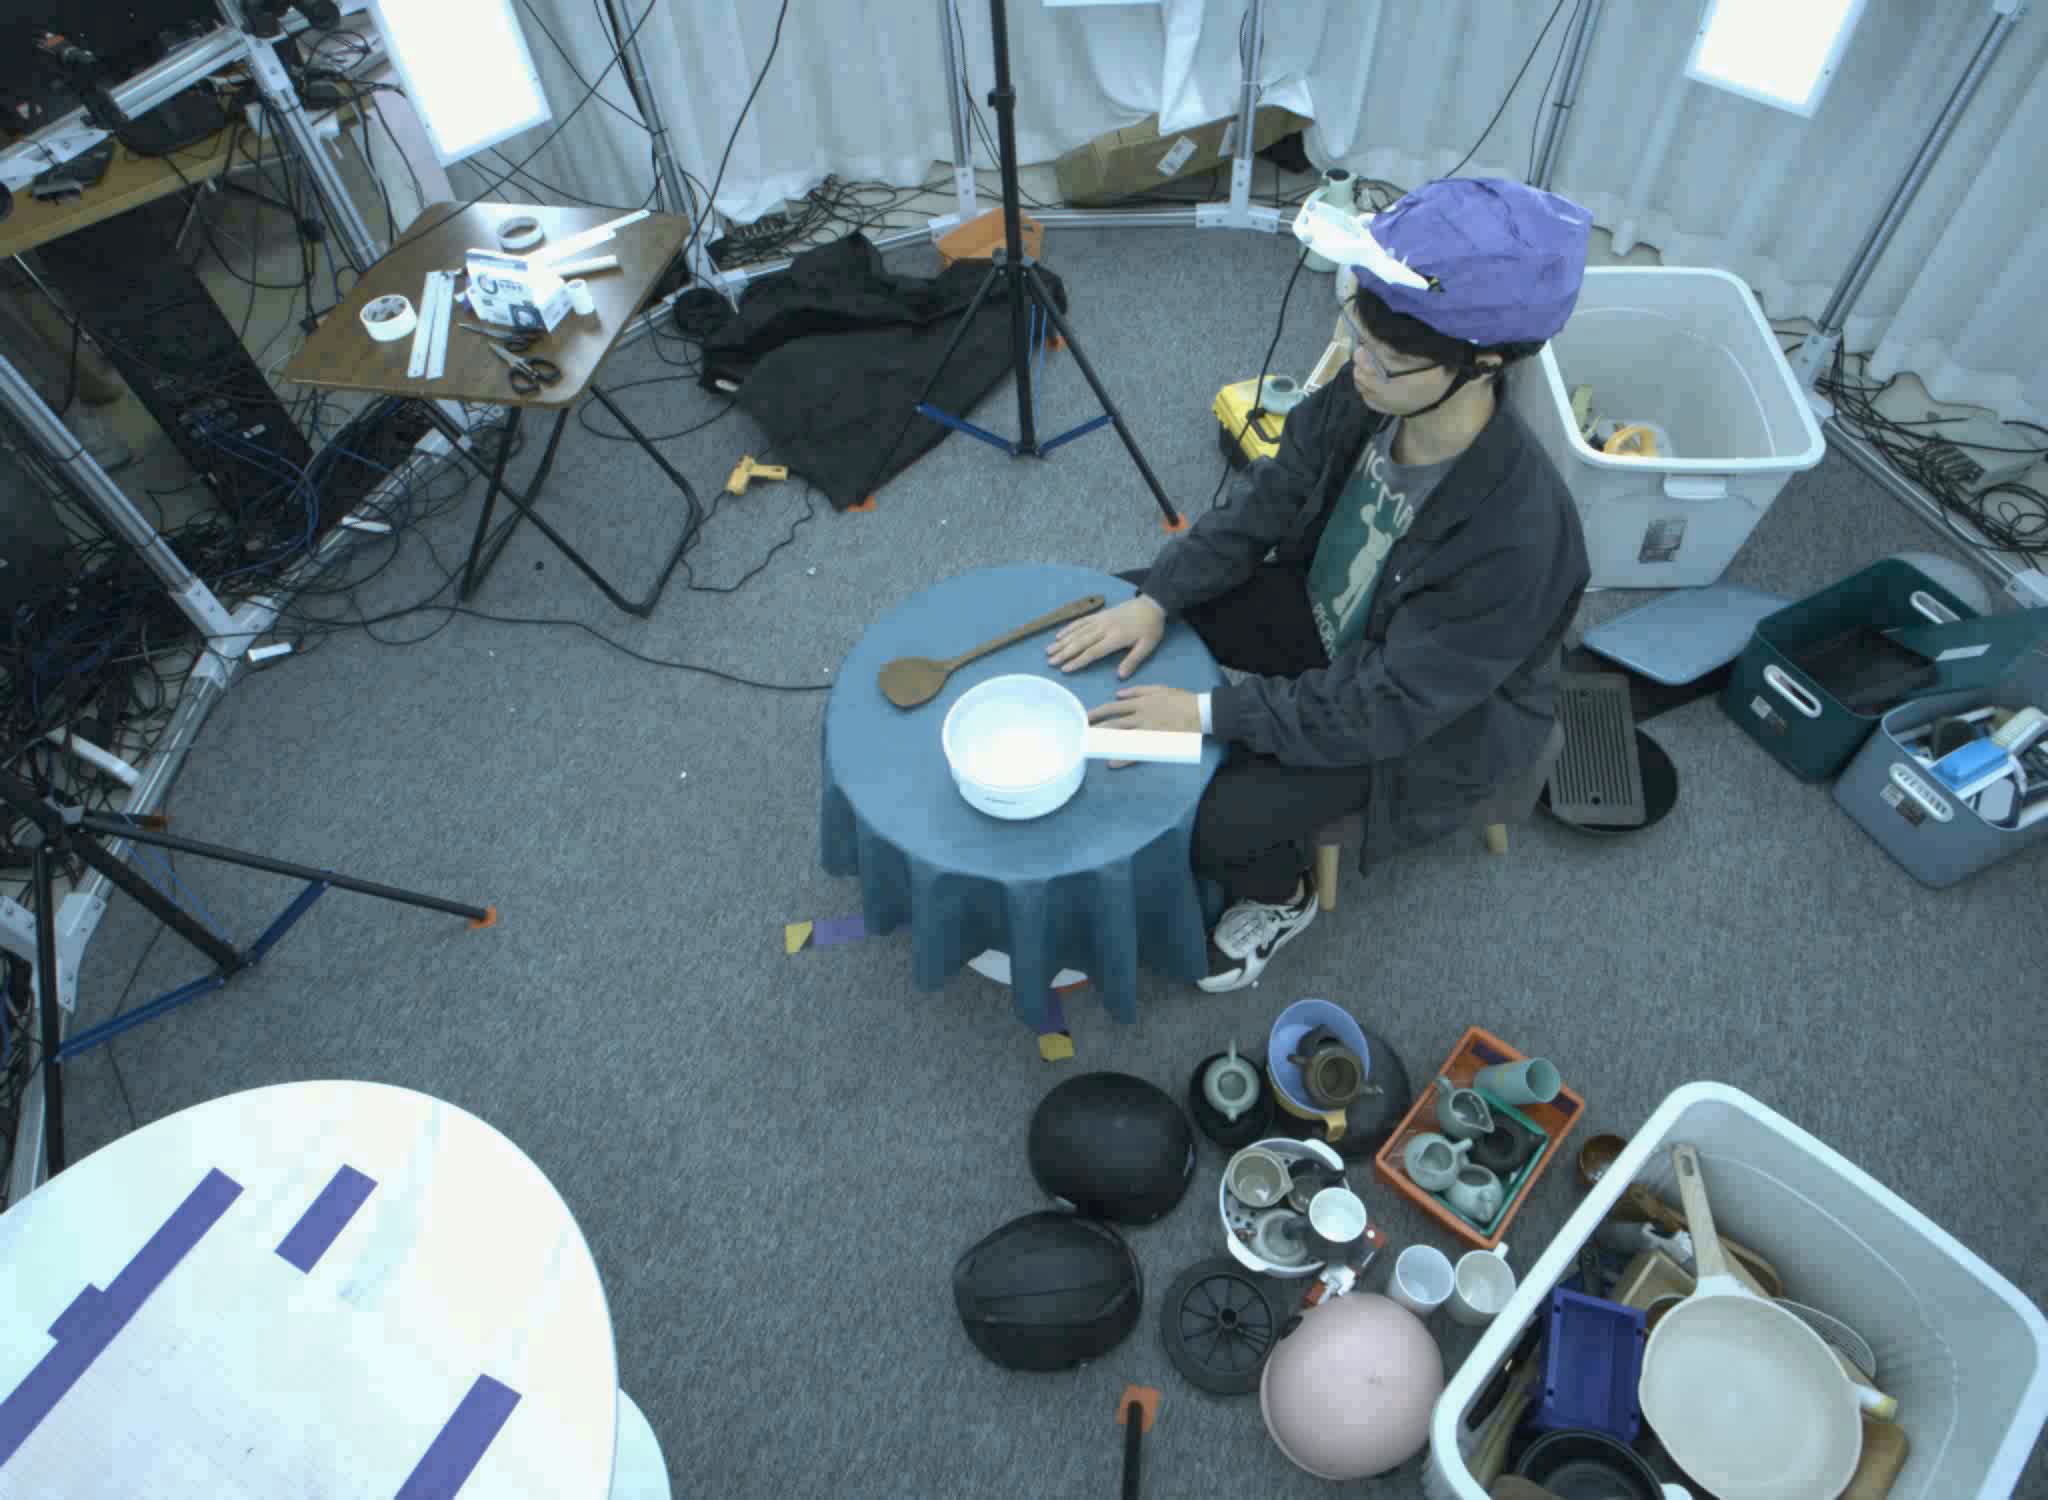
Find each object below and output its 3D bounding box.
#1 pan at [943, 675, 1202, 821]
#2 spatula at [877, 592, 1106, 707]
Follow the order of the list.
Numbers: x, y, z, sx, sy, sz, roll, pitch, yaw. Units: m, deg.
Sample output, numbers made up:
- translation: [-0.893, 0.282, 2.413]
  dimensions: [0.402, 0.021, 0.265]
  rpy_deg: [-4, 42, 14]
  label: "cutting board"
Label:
- translation: [0.067, 0.008, 1.713]
  dimensions: [0.354, 0.103, 0.199]
  rpy_deg: [5, 54, 3]
  label: "pan"
- translation: [-0.043, -0.166, 1.890]
  dimensions: [0.389, 0.016, 0.094]
  rpy_deg: [-25, 58, -15]
  label: "spatula"
